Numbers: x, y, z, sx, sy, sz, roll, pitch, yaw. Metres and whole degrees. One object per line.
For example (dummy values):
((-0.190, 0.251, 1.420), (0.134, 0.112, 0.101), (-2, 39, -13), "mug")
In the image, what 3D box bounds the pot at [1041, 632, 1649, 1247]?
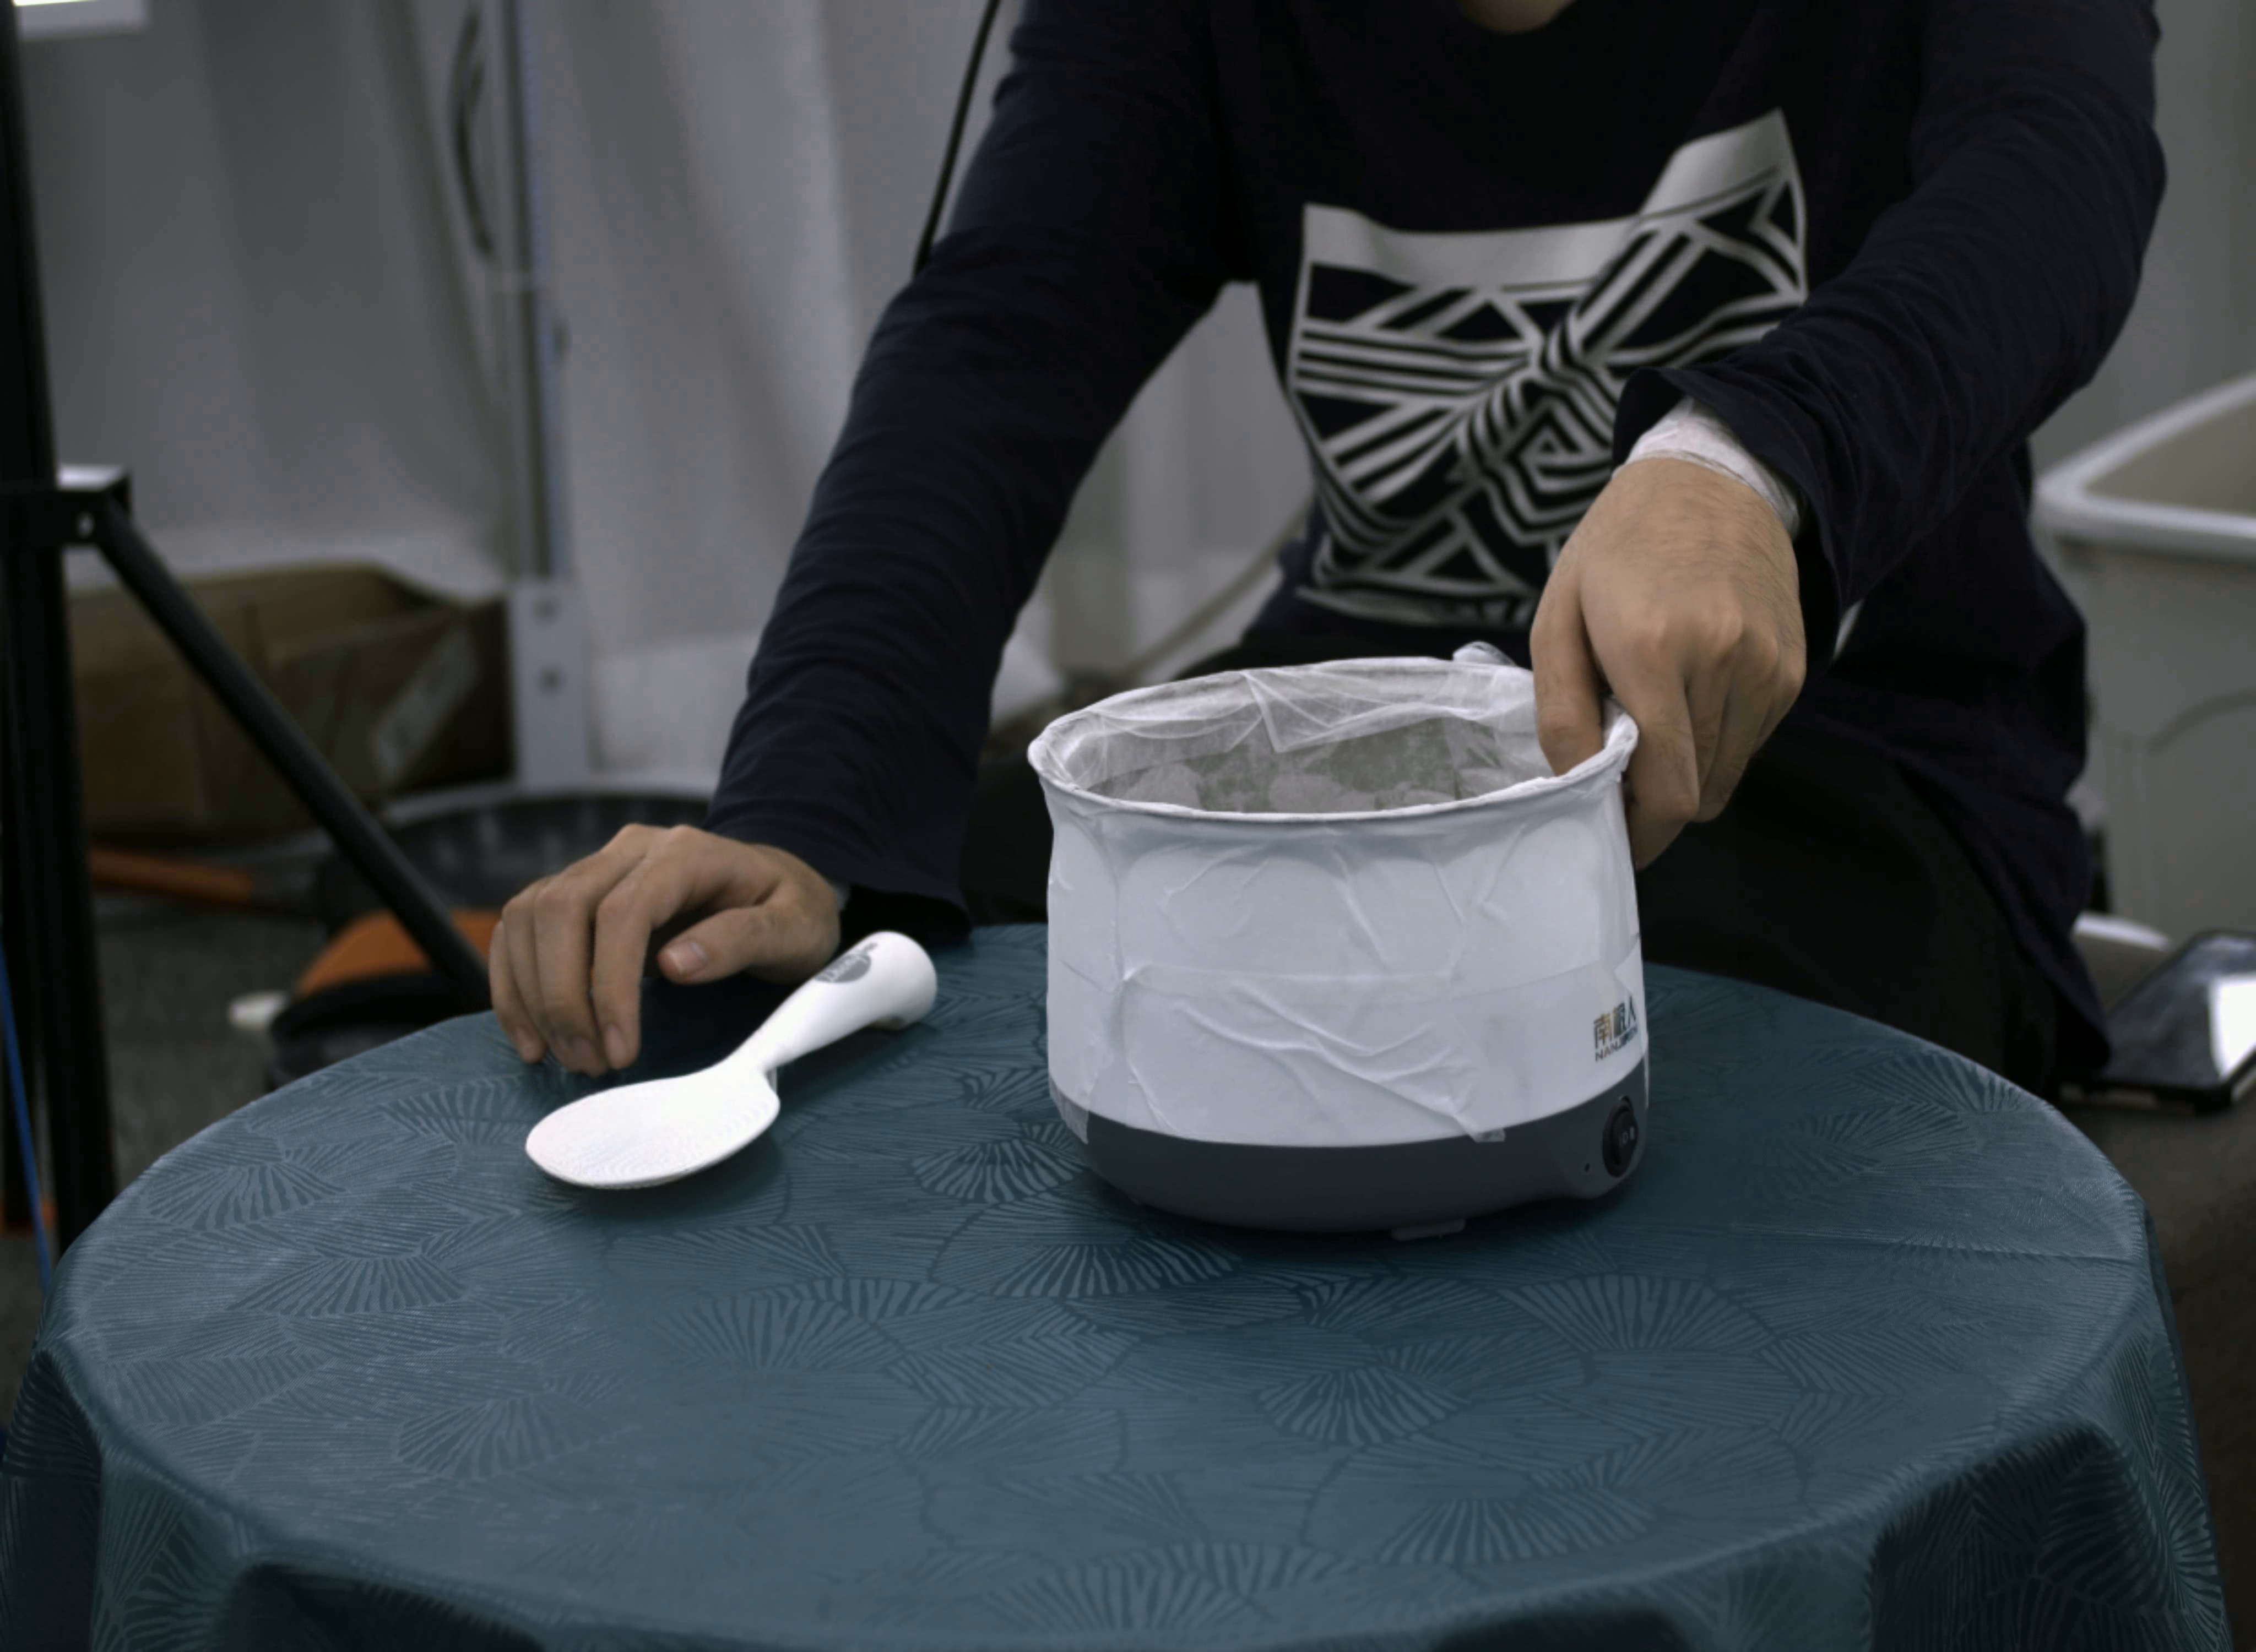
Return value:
((0.075, 0.026, 1.578), (0.181, 0.136, 0.230), (8, 20, 27), "pot")

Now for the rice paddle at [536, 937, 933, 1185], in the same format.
((-0.117, 0.075, 1.644), (0.070, 0.029, 0.202), (3, 16, 24), "rice paddle")
